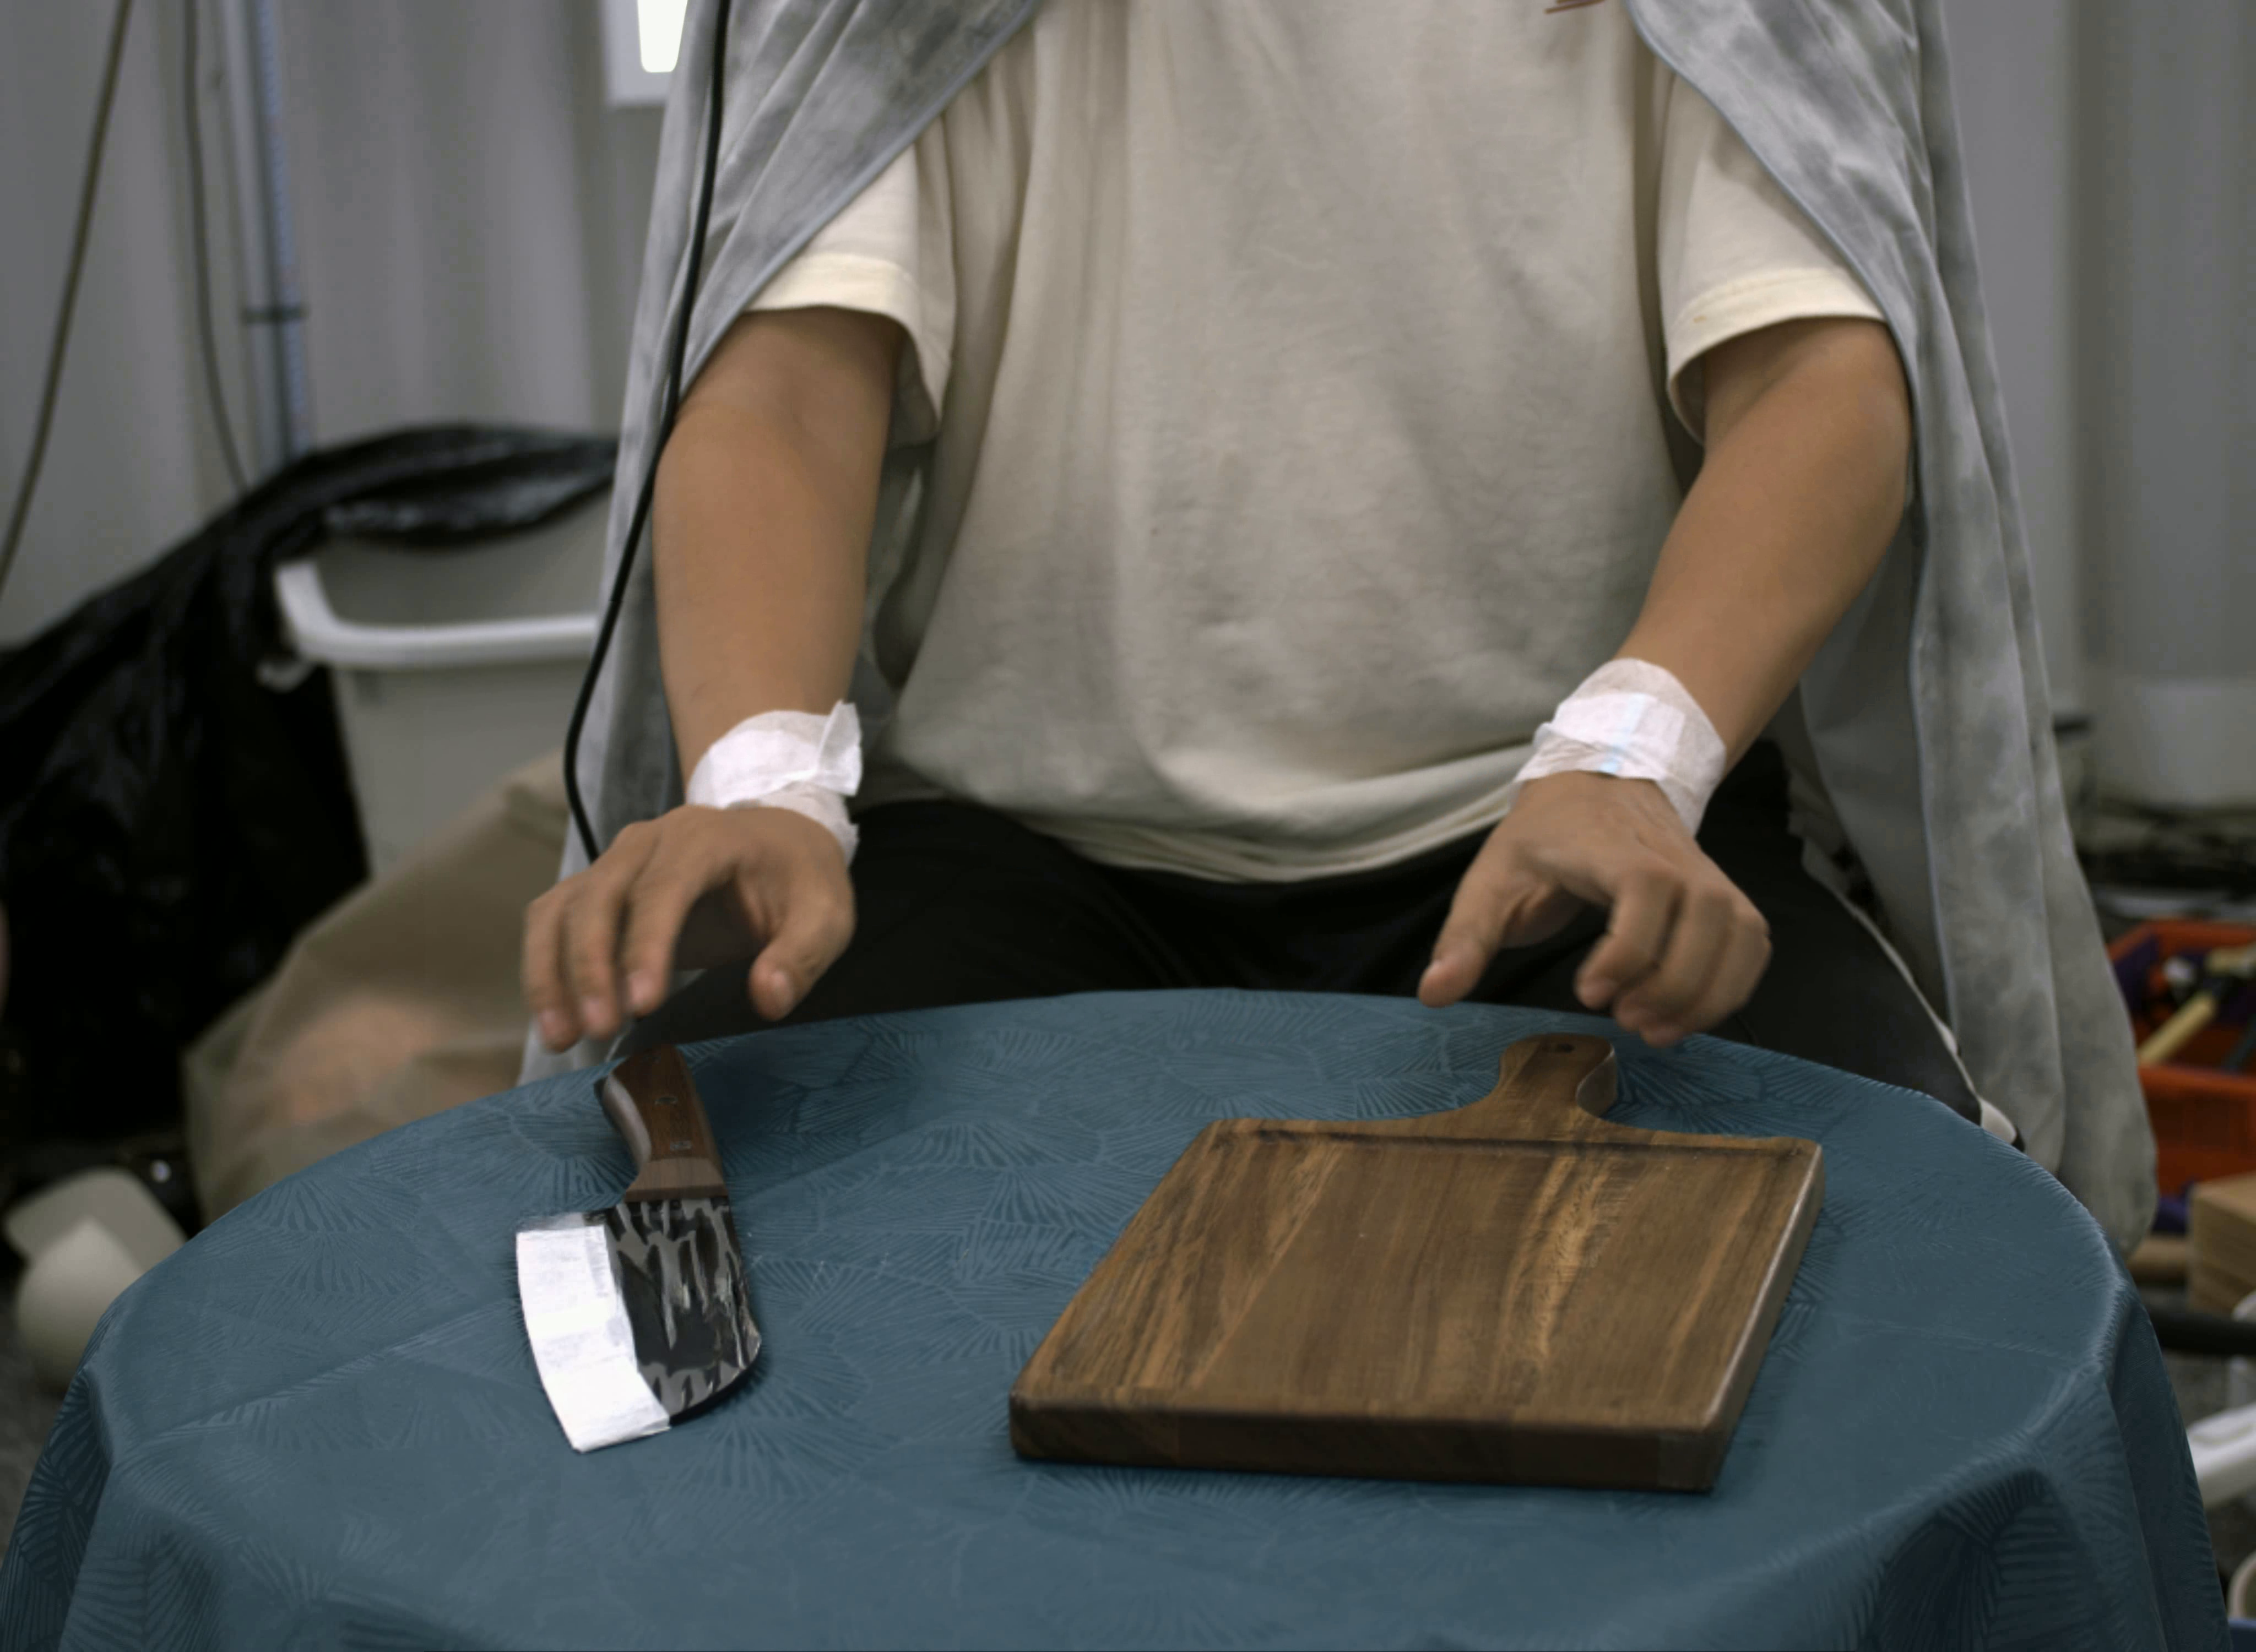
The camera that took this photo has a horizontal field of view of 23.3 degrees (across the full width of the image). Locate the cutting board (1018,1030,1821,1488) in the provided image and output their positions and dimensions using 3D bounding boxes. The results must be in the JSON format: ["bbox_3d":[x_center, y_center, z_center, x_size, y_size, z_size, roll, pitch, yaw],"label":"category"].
[{"bbox_3d":[0.102,0.121,1.633,0.201,0.023,0.353,1,15,14],"label":"cutting board"}]

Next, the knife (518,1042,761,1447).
[{"bbox_3d":[-0.151,0.127,1.667,0.068,0.024,0.302,-7,18,-6],"label":"knife"}]
